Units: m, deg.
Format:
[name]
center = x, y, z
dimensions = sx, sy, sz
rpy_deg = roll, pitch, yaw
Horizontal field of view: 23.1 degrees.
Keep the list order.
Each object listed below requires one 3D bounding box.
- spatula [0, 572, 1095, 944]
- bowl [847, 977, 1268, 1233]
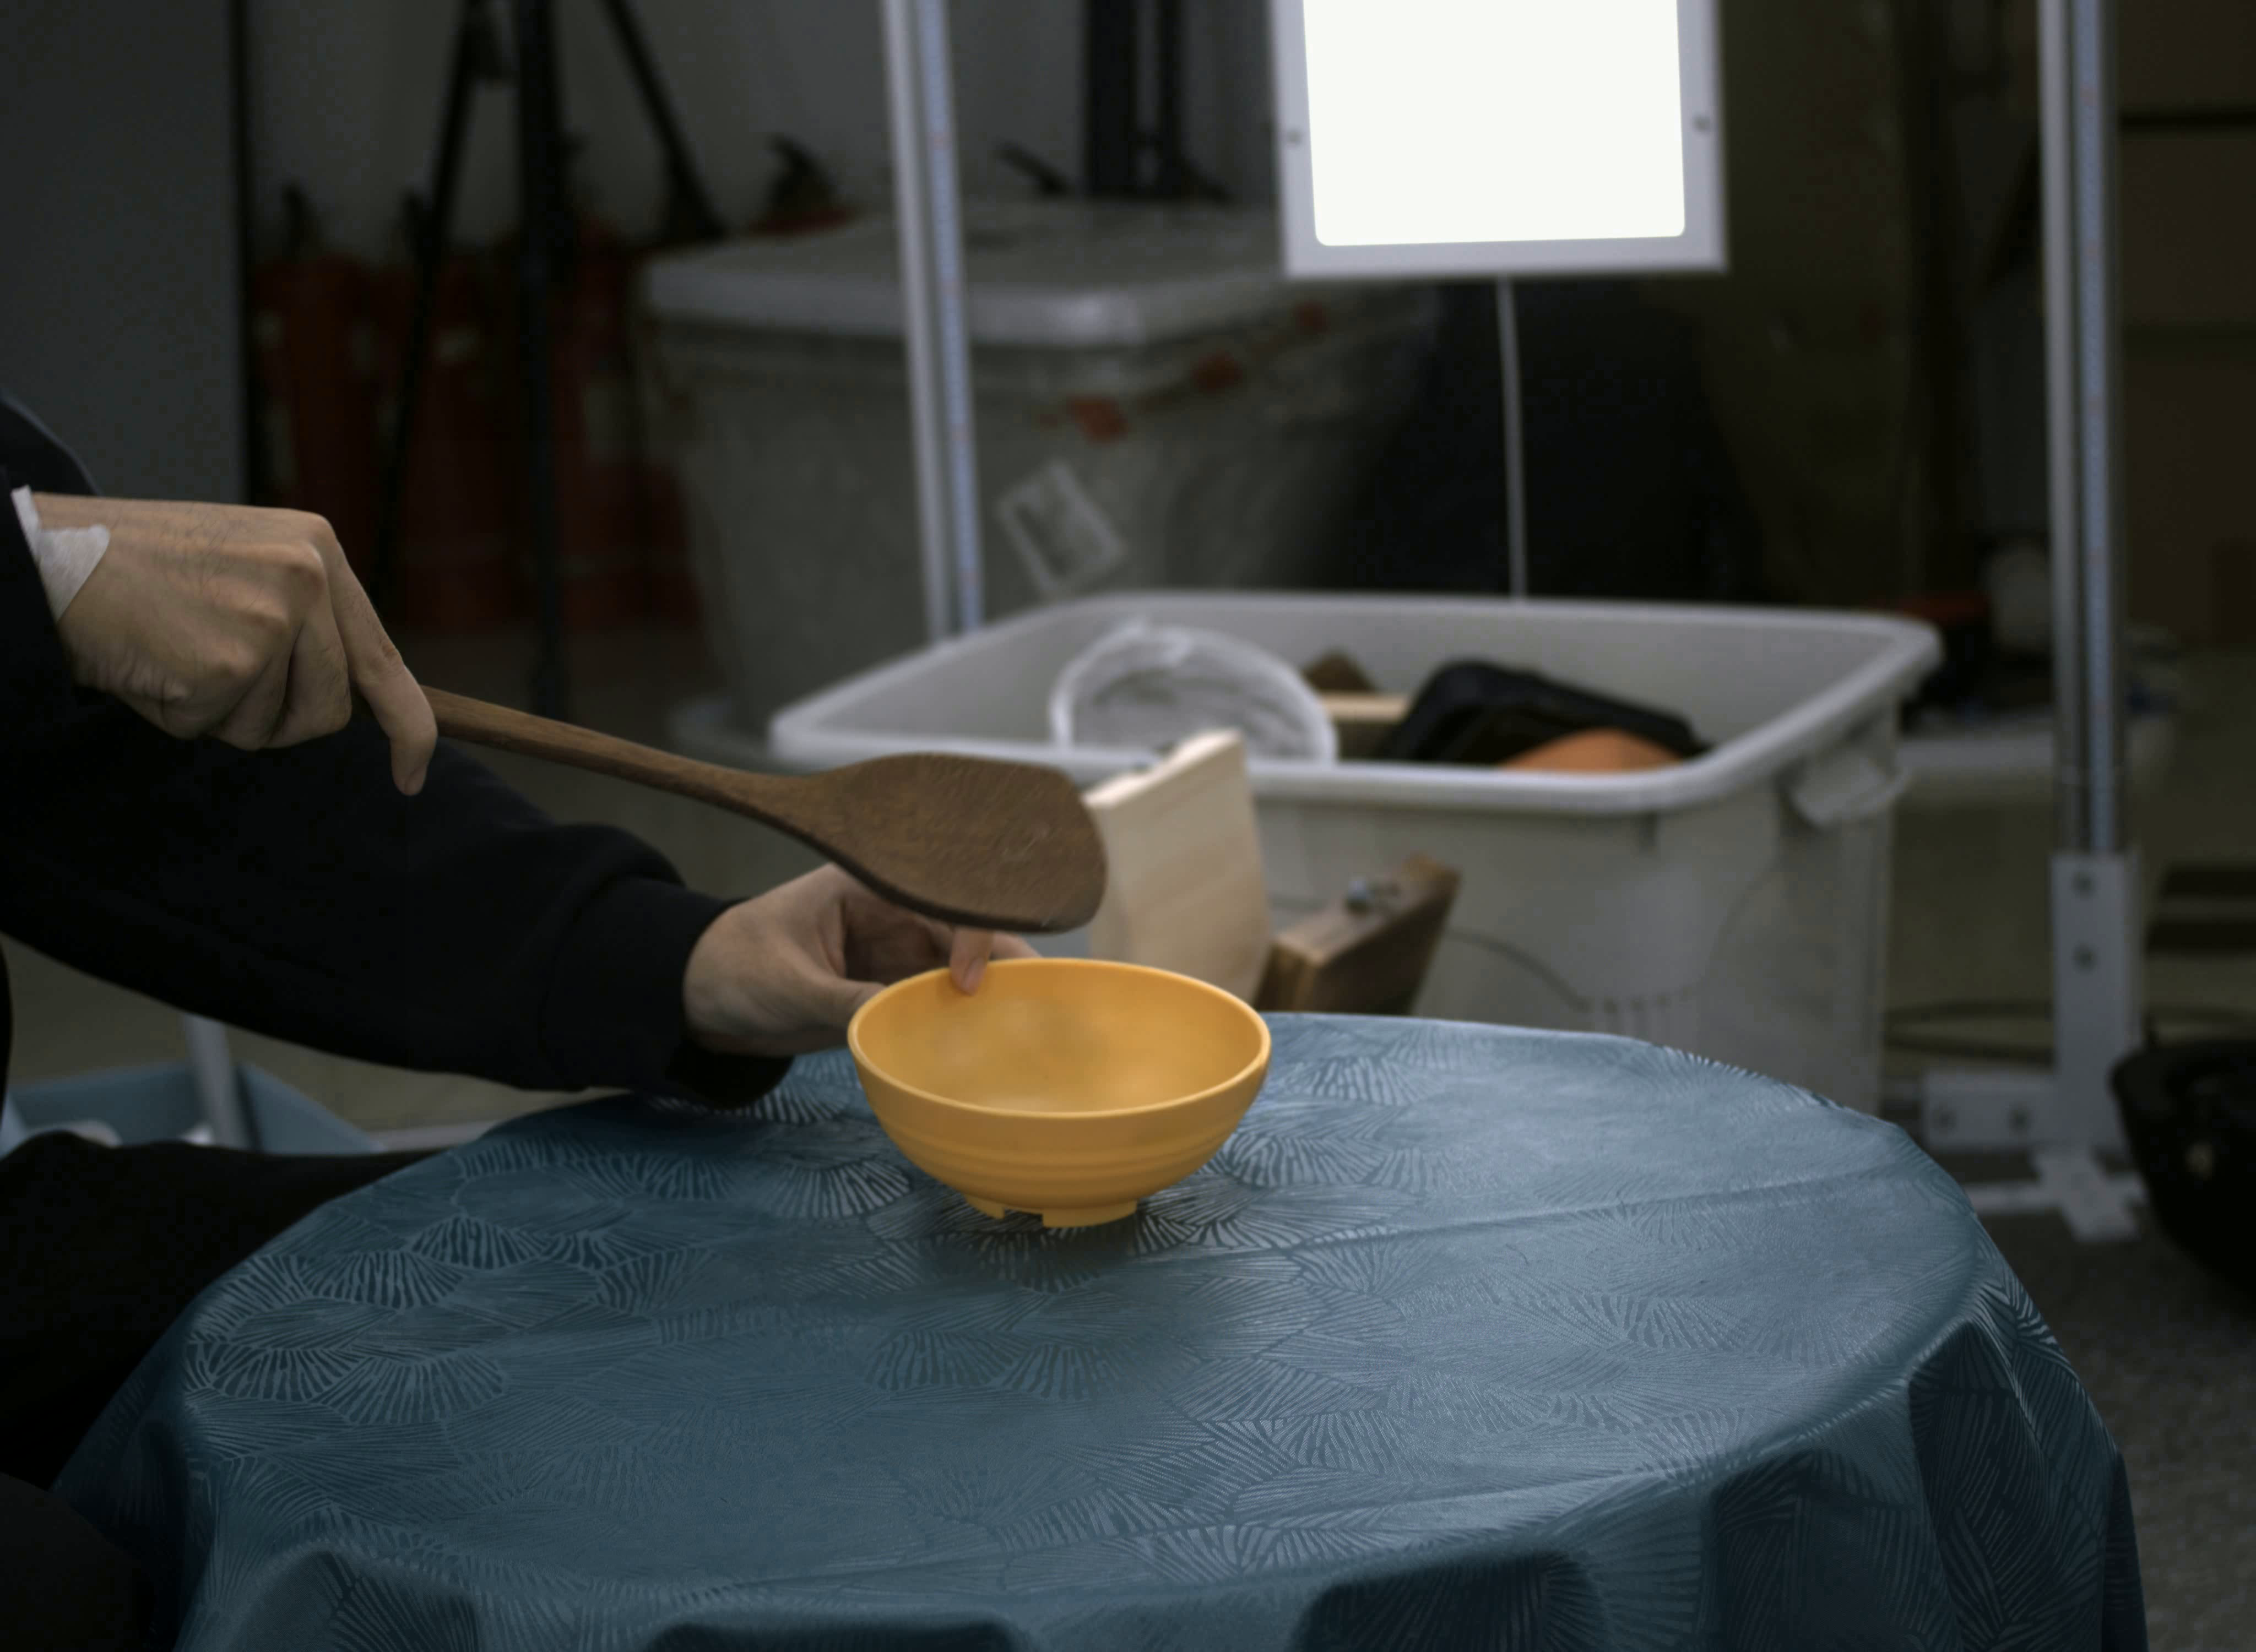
[spatula]
center = -0.191, -0.028, 1.798
dimensions = 0.381, 0.016, 0.096
rpy_deg = 15, 32, -14
[bowl]
center = -0.024, 0.100, 1.881
dimensions = 0.145, 0.060, 0.145
rpy_deg = 0, 17, -1
